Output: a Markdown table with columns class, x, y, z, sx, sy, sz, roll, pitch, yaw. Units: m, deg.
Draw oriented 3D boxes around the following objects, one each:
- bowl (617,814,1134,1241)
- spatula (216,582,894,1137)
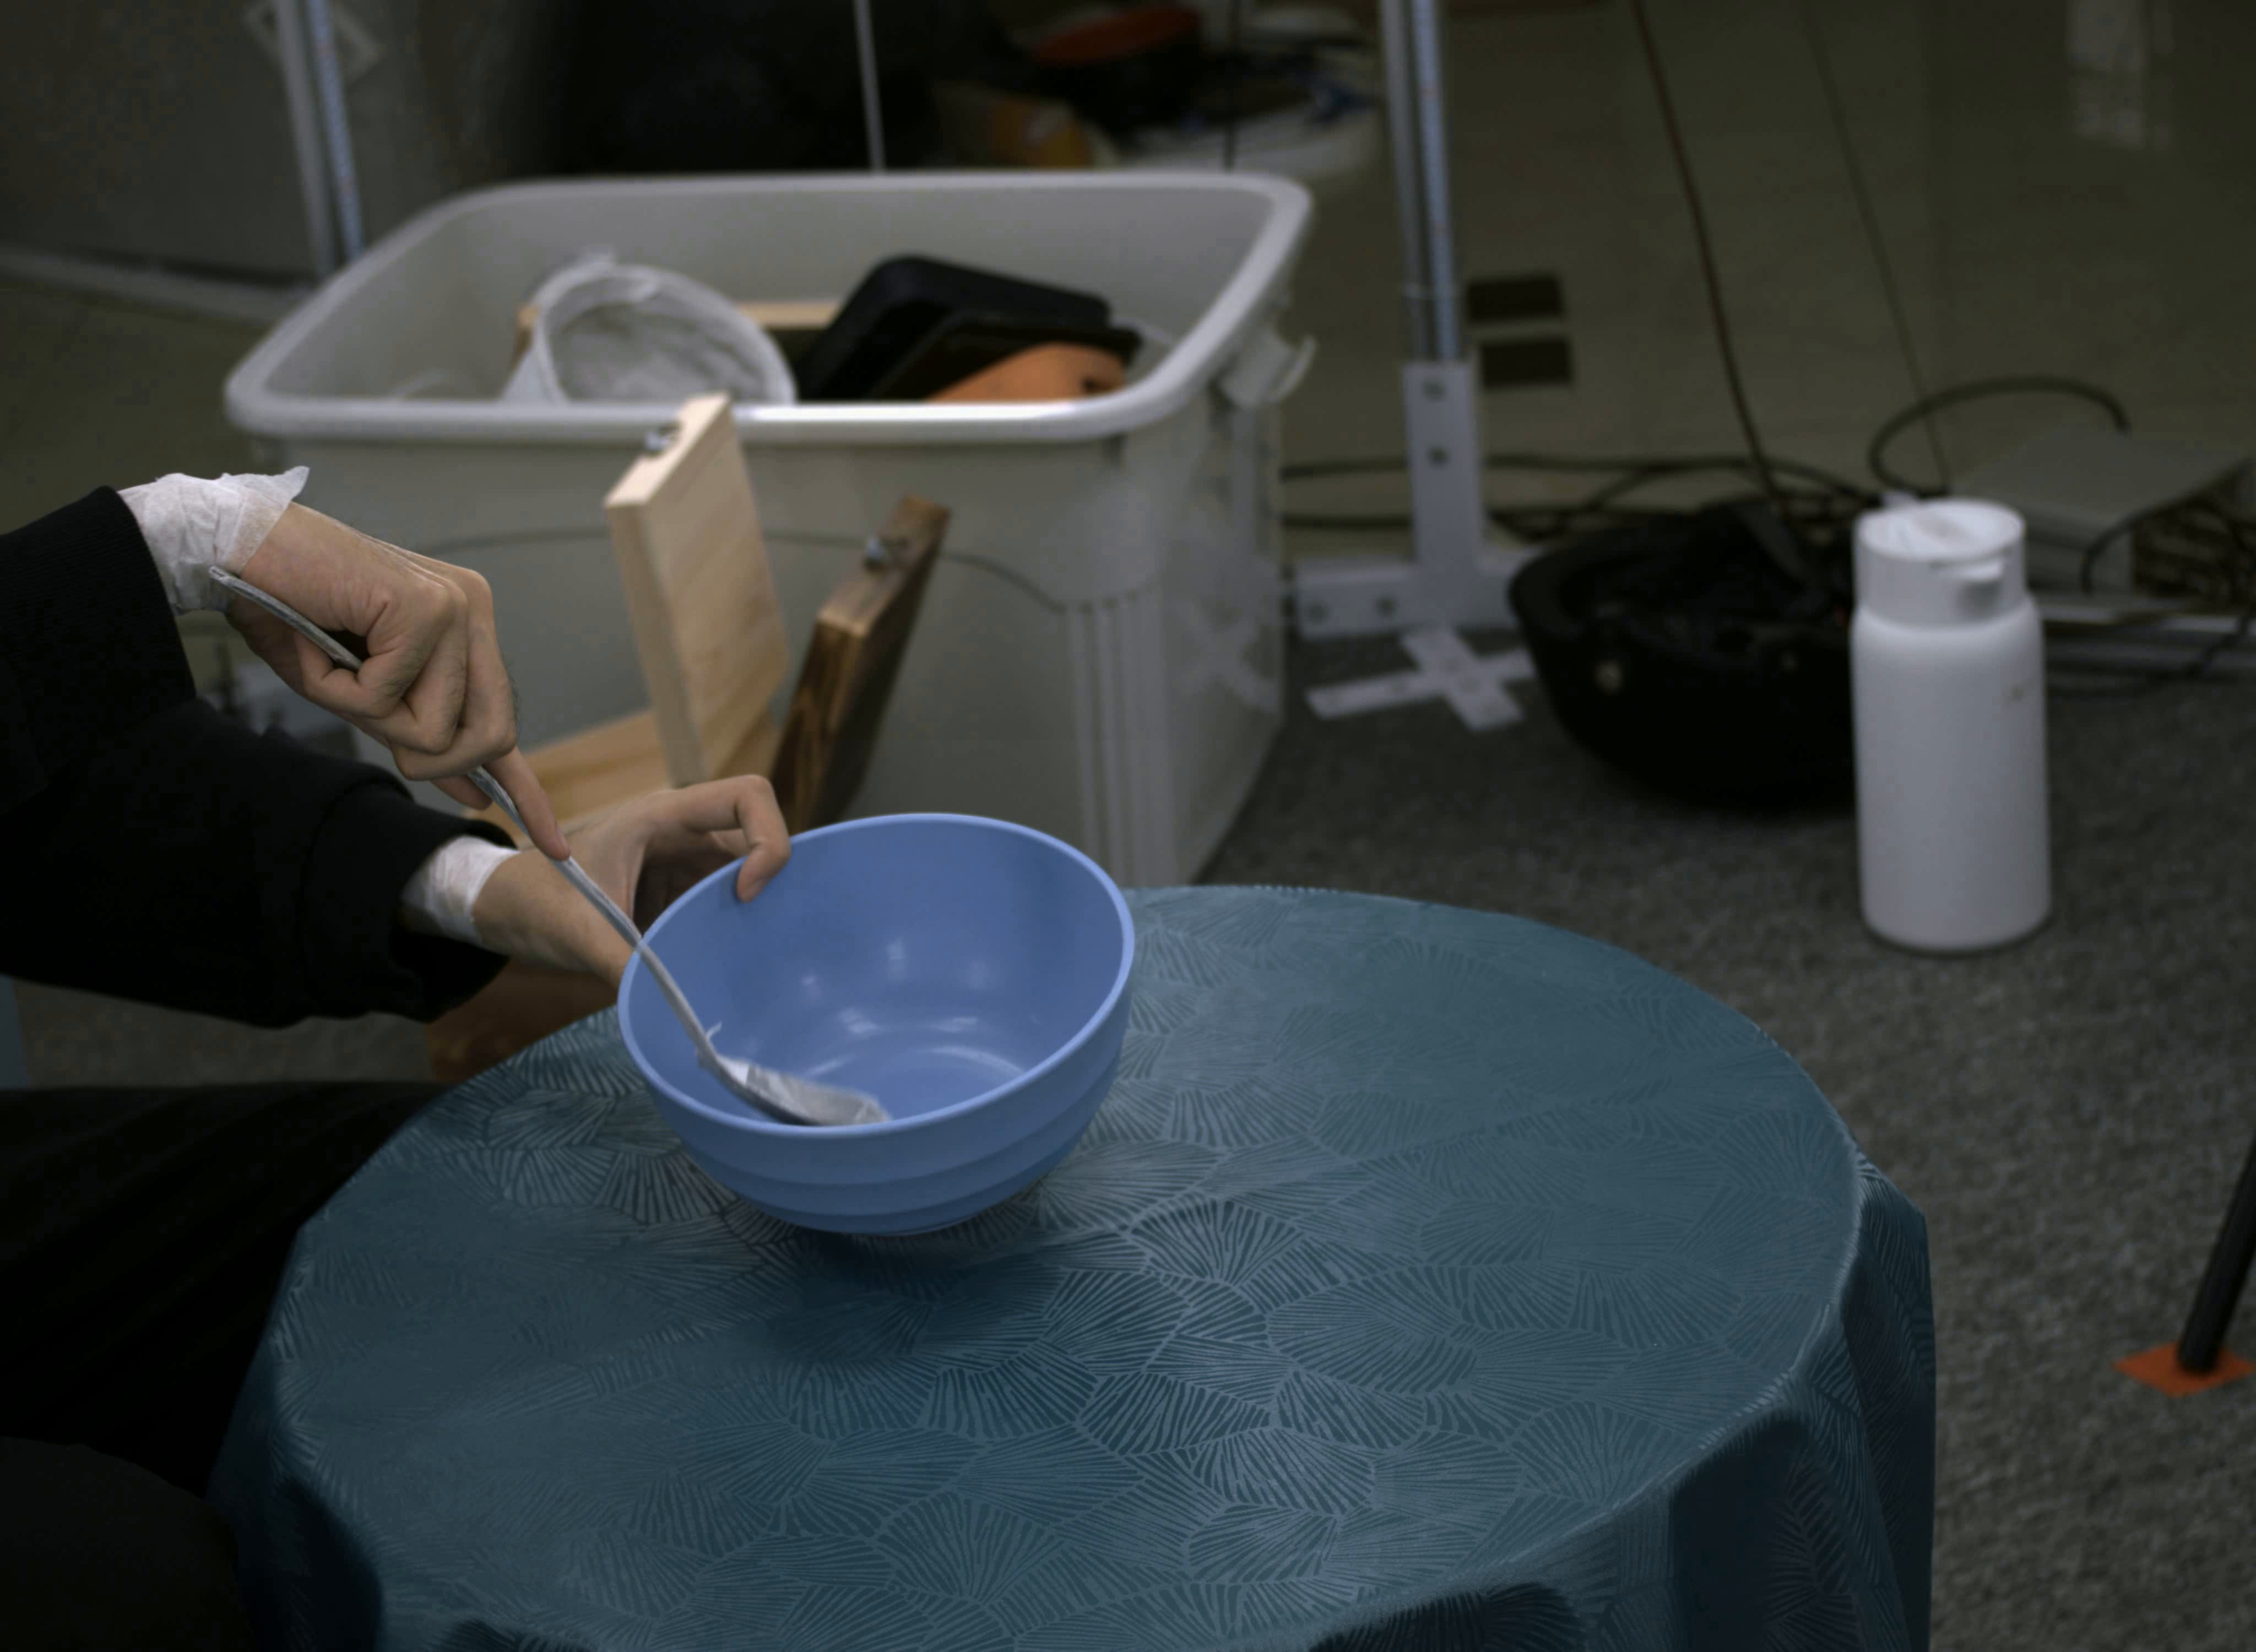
| class | x | y | z | sx | sy | sz | roll | pitch | yaw |
| --- | --- | --- | --- | --- | --- | --- | --- | --- | --- |
| bowl | -0.088 | 0.091 | 2.143 | 0.196 | 0.097 | 0.193 | -7 | 37 | 5 |
| spatula | -0.191 | 0.022 | 2.038 | 0.044 | 0.369 | 0.098 | -46 | 31 | -7 |
